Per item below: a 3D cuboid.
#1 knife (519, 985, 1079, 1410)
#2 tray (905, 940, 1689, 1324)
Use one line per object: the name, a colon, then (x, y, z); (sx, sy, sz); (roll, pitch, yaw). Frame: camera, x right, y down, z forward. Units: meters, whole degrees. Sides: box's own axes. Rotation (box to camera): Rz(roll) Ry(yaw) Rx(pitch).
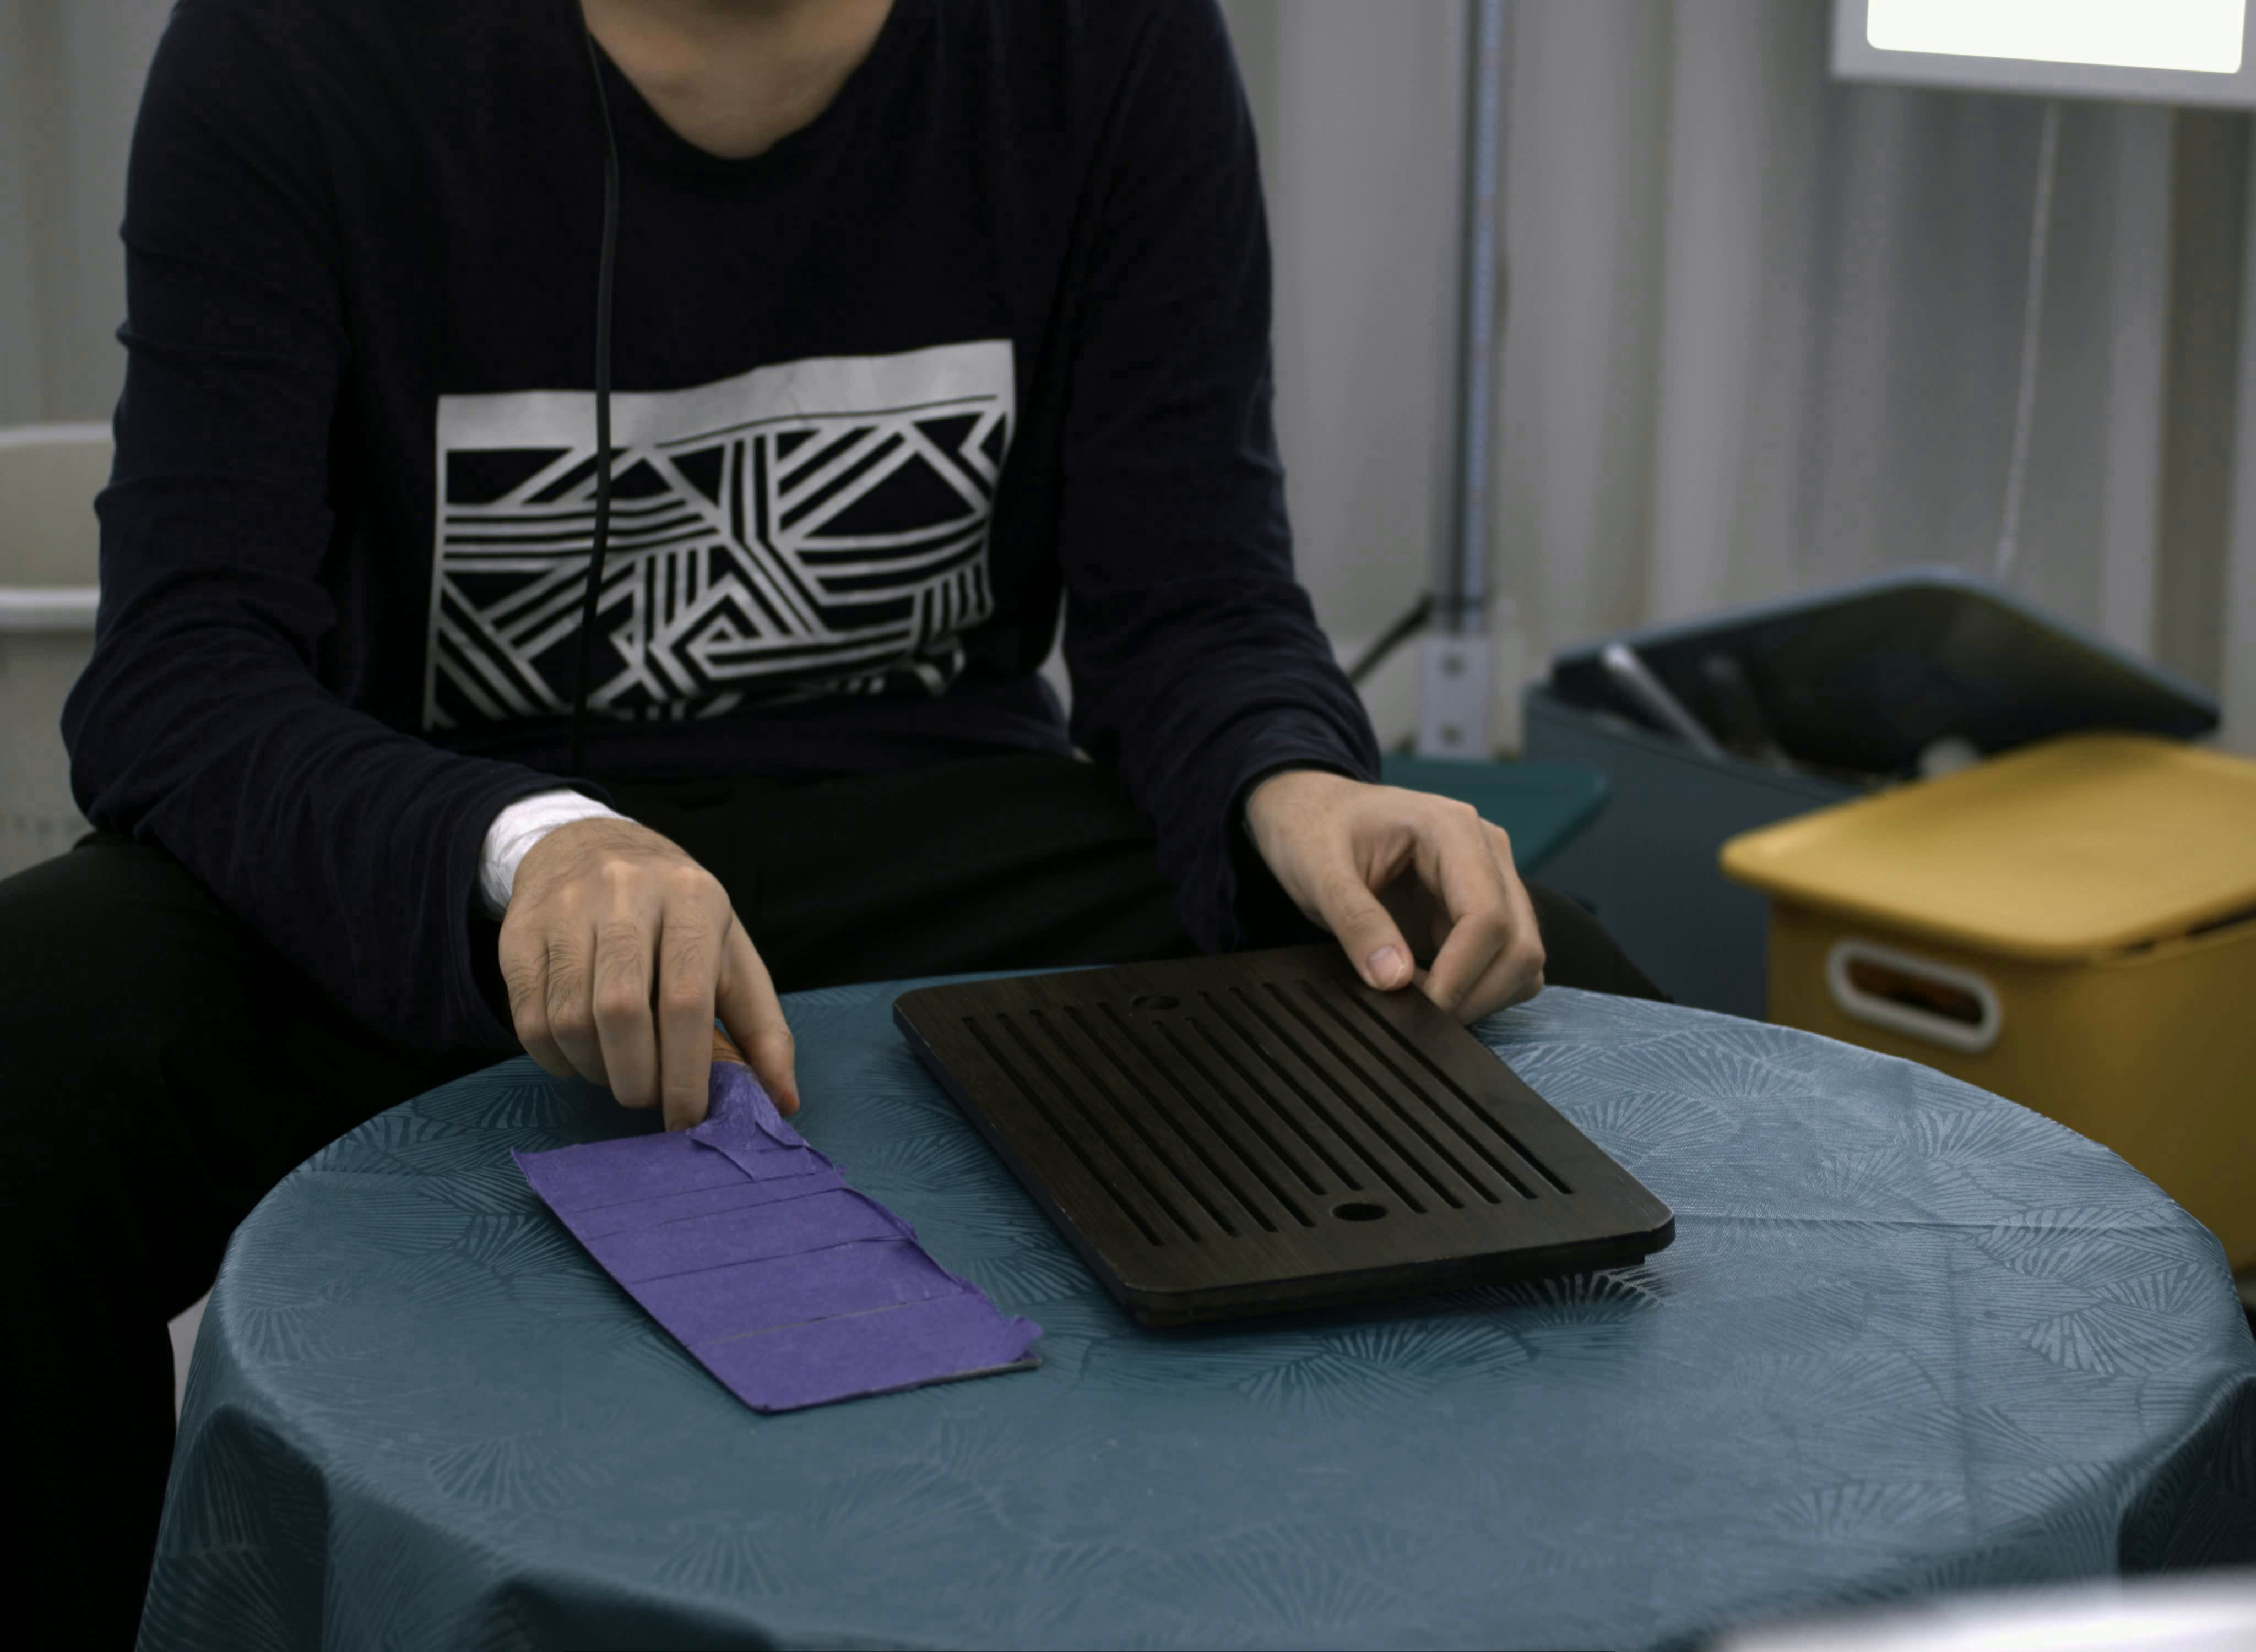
knife: (-0.126, 0.108, 1.587); (0.104, 0.032, 0.311); (-7, 17, -26)
tray: (0.045, 0.092, 1.655); (0.170, 0.019, 0.303); (-6, 16, -15)
